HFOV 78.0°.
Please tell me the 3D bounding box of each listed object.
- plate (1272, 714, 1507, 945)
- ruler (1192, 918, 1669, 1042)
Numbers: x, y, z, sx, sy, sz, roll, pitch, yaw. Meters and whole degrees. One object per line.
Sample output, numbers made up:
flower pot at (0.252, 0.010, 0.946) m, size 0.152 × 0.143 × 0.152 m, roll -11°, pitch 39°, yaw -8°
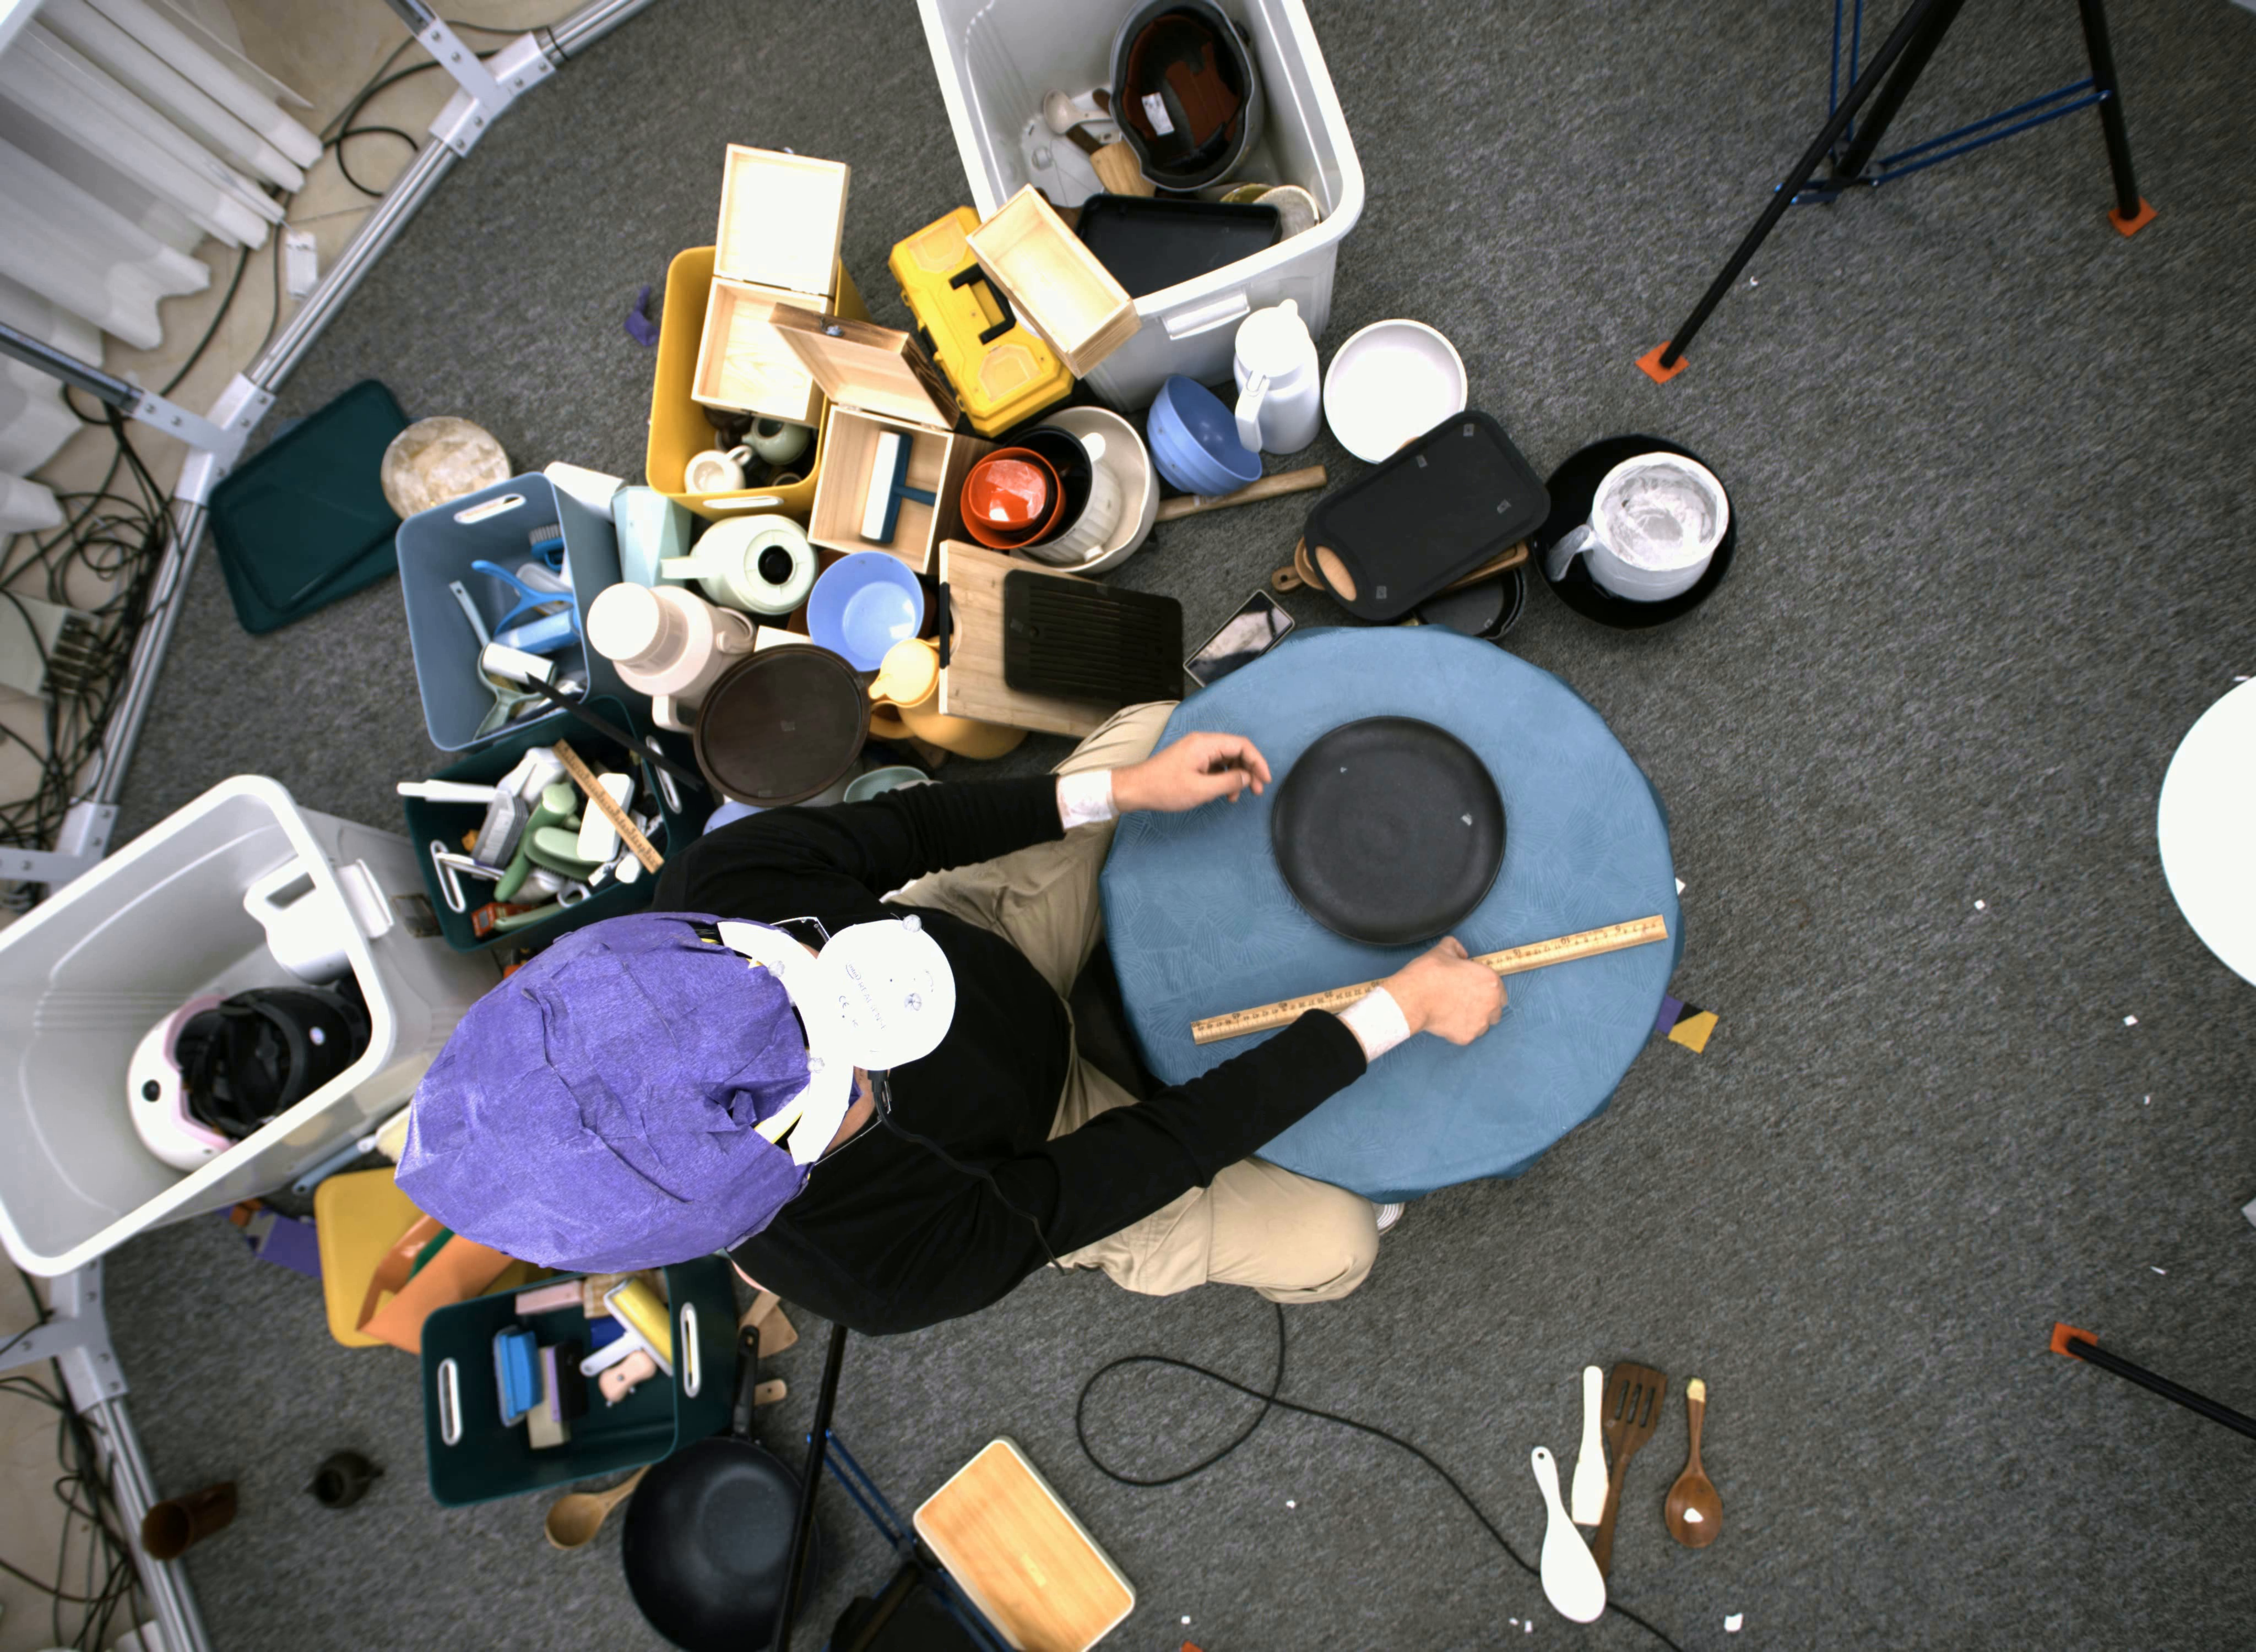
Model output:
plate at (0.274, 0.003, 1.451) m, size 0.245 × 0.023 × 0.243 m, roll -1°, pitch 87°, yaw 11°
ruler at (0.310, 0.160, 1.445) m, size 0.503 × 0.006 × 0.026 m, roll -14°, pitch 83°, yaw 10°
